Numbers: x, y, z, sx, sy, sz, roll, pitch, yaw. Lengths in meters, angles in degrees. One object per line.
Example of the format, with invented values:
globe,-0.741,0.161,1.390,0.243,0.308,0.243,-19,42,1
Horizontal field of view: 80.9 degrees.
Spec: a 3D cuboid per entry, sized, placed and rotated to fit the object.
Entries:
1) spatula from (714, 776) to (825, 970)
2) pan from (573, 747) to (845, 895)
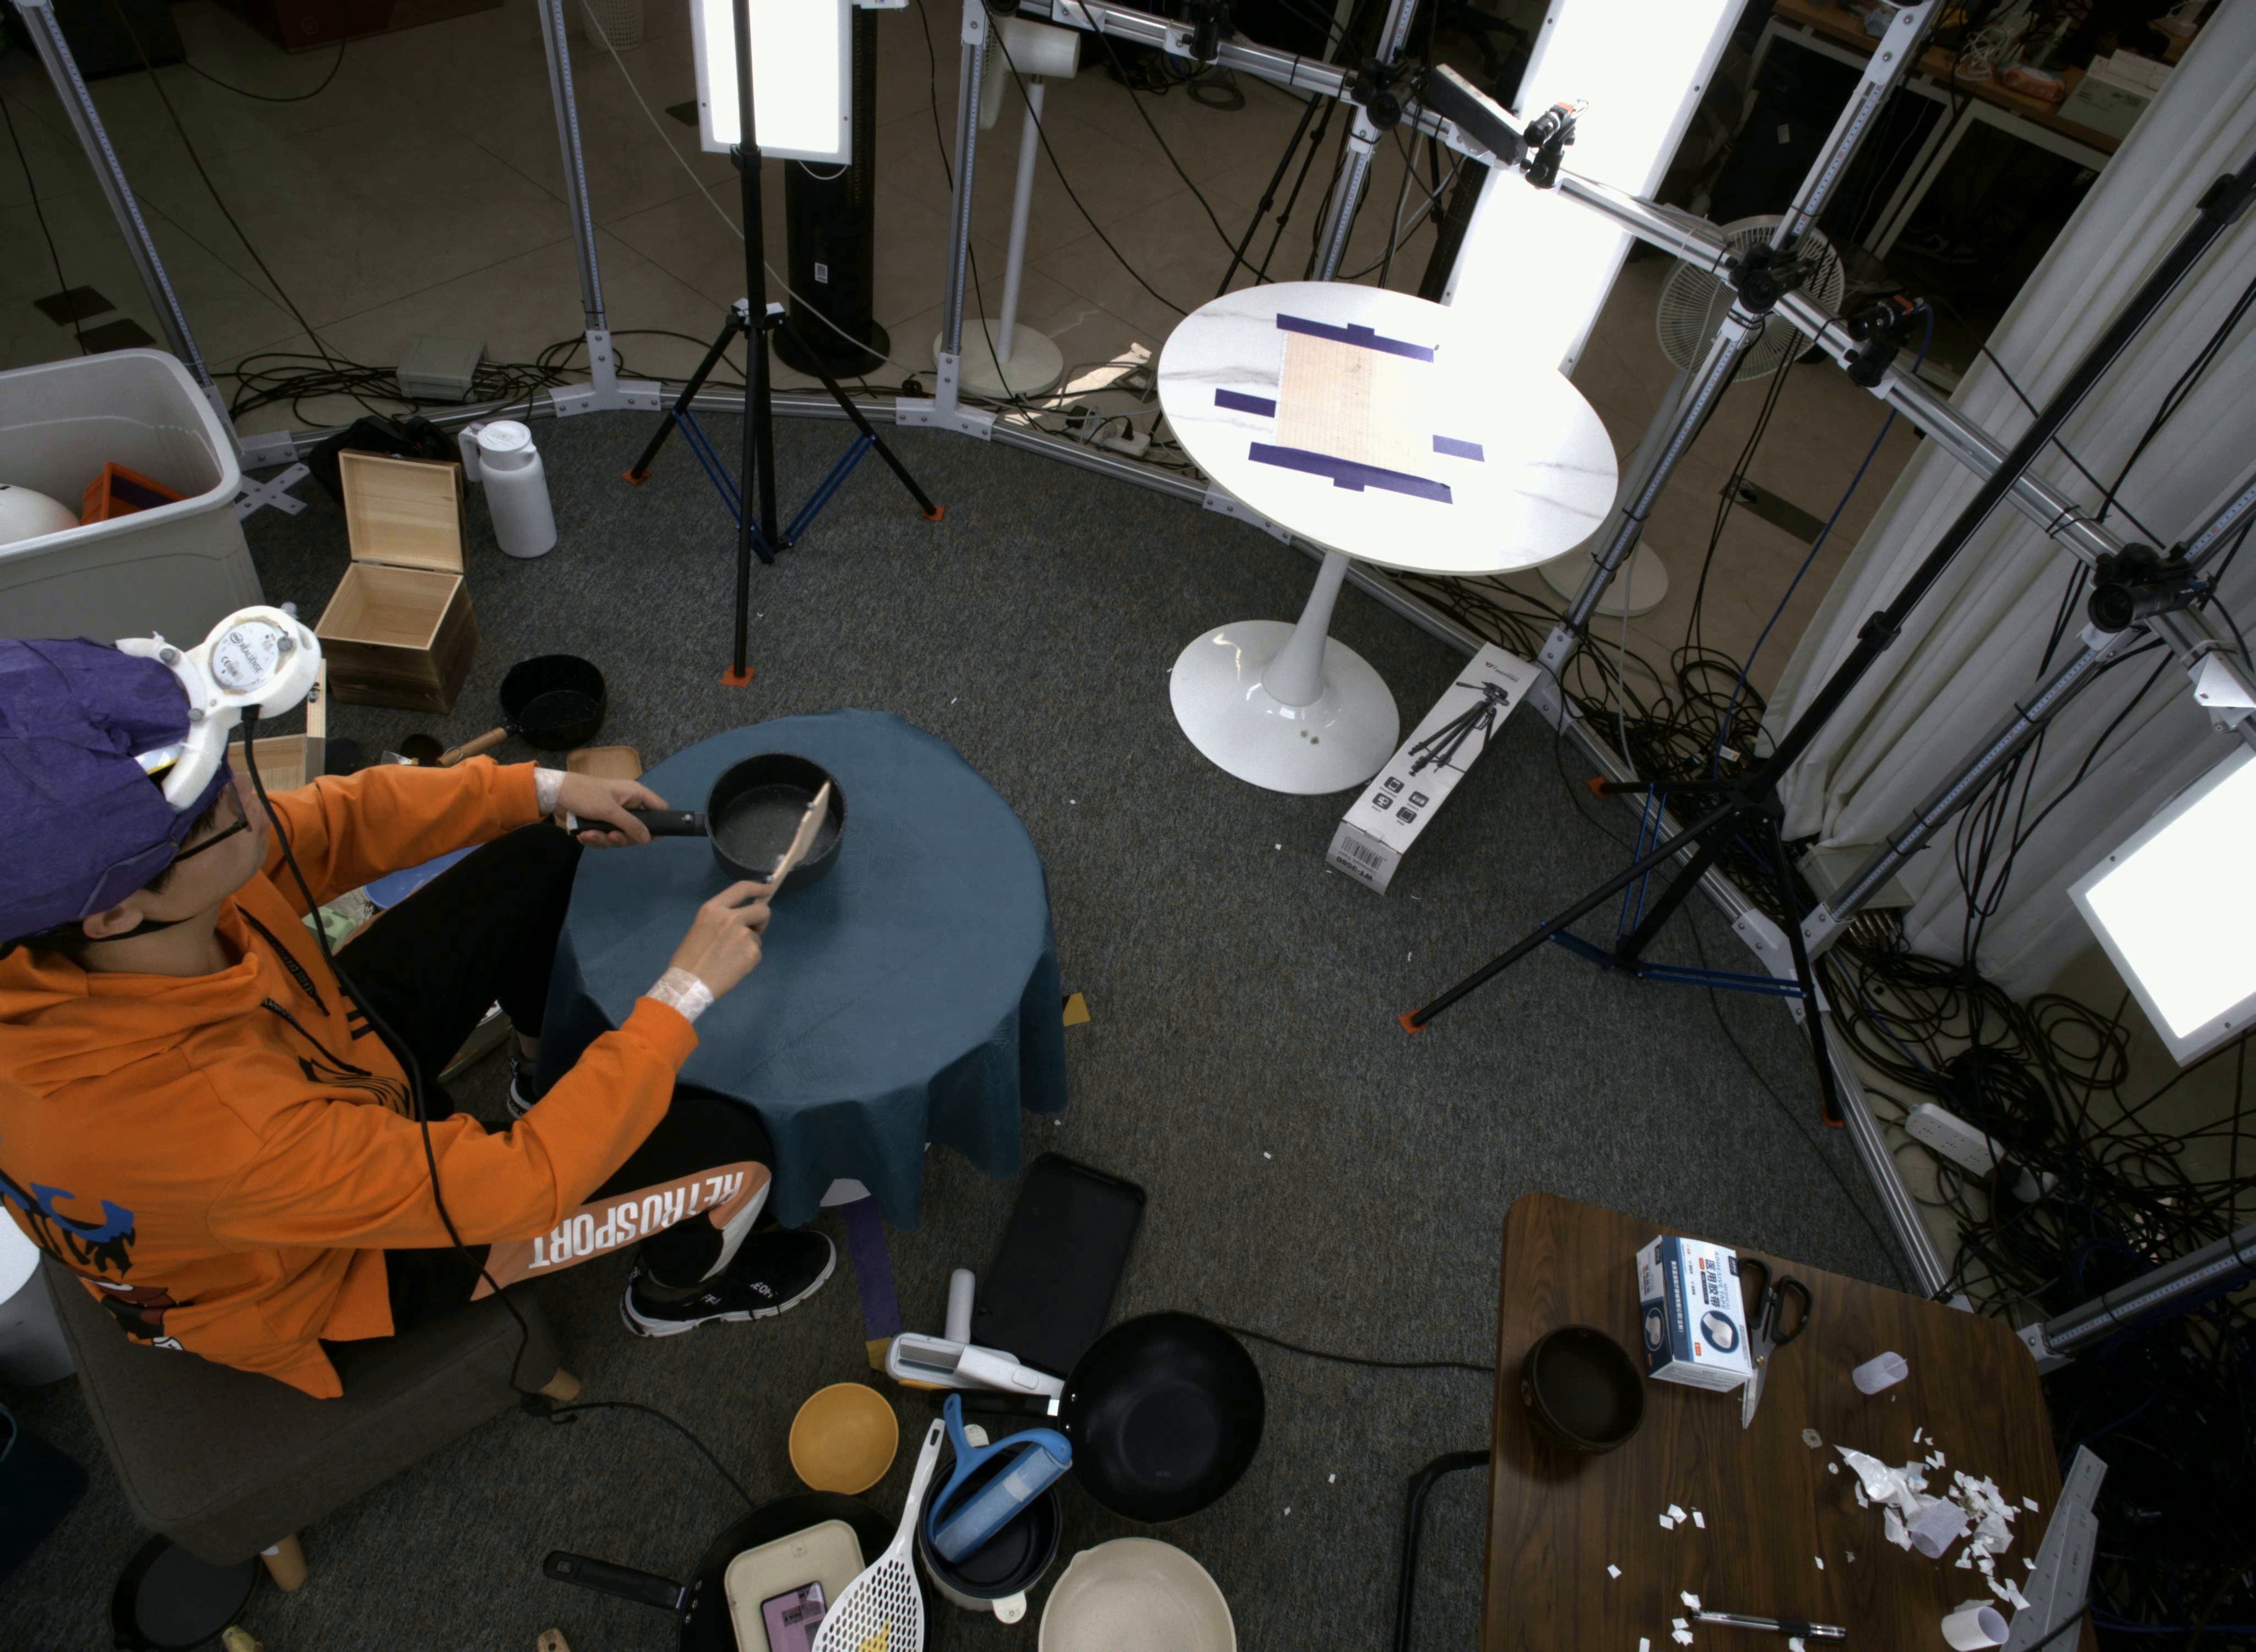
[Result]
spatula,-0.408,0.053,1.488,0.010,0.073,0.289,20,43,0
pan,-0.512,-0.004,1.574,0.330,0.087,0.169,0,62,-18
